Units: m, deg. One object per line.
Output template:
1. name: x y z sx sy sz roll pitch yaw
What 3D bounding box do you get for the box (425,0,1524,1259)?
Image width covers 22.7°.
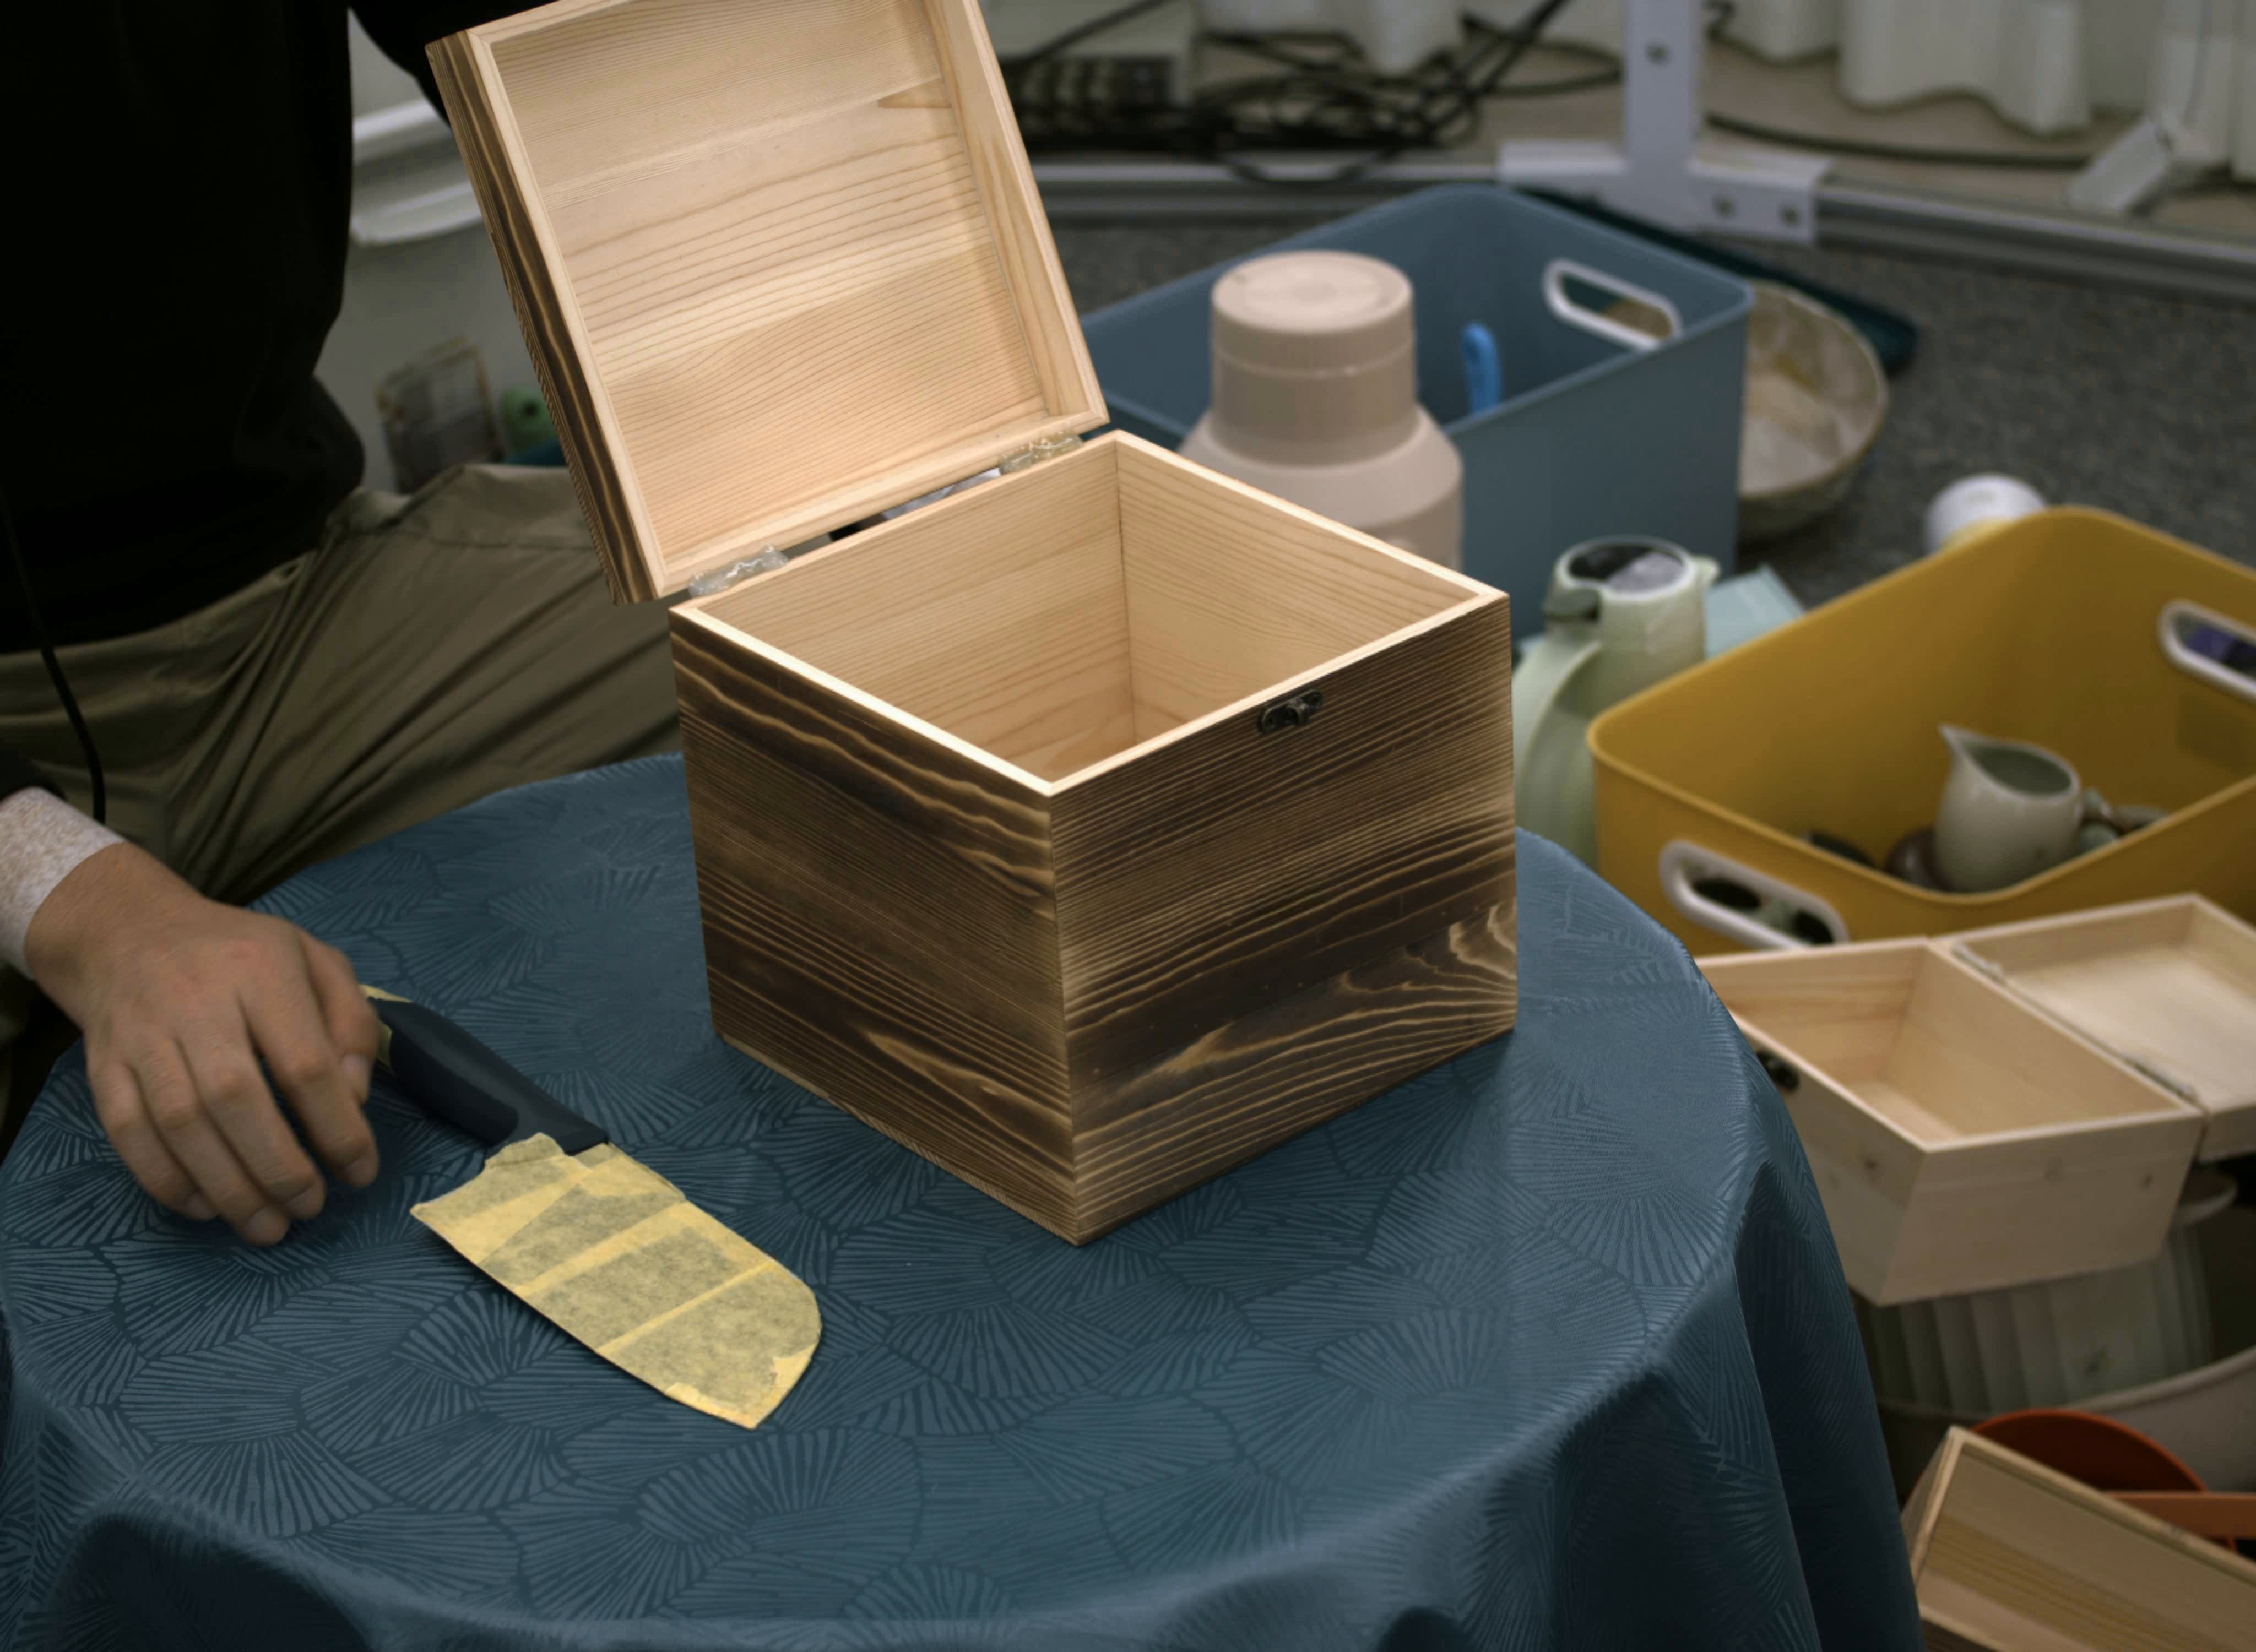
1. box: -0.050 -0.102 1.912 0.211 0.371 0.322 -24 33 -34

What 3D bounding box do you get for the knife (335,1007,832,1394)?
1. knife: -0.192 0.125 1.859 0.082 0.027 0.290 -19 32 -32
